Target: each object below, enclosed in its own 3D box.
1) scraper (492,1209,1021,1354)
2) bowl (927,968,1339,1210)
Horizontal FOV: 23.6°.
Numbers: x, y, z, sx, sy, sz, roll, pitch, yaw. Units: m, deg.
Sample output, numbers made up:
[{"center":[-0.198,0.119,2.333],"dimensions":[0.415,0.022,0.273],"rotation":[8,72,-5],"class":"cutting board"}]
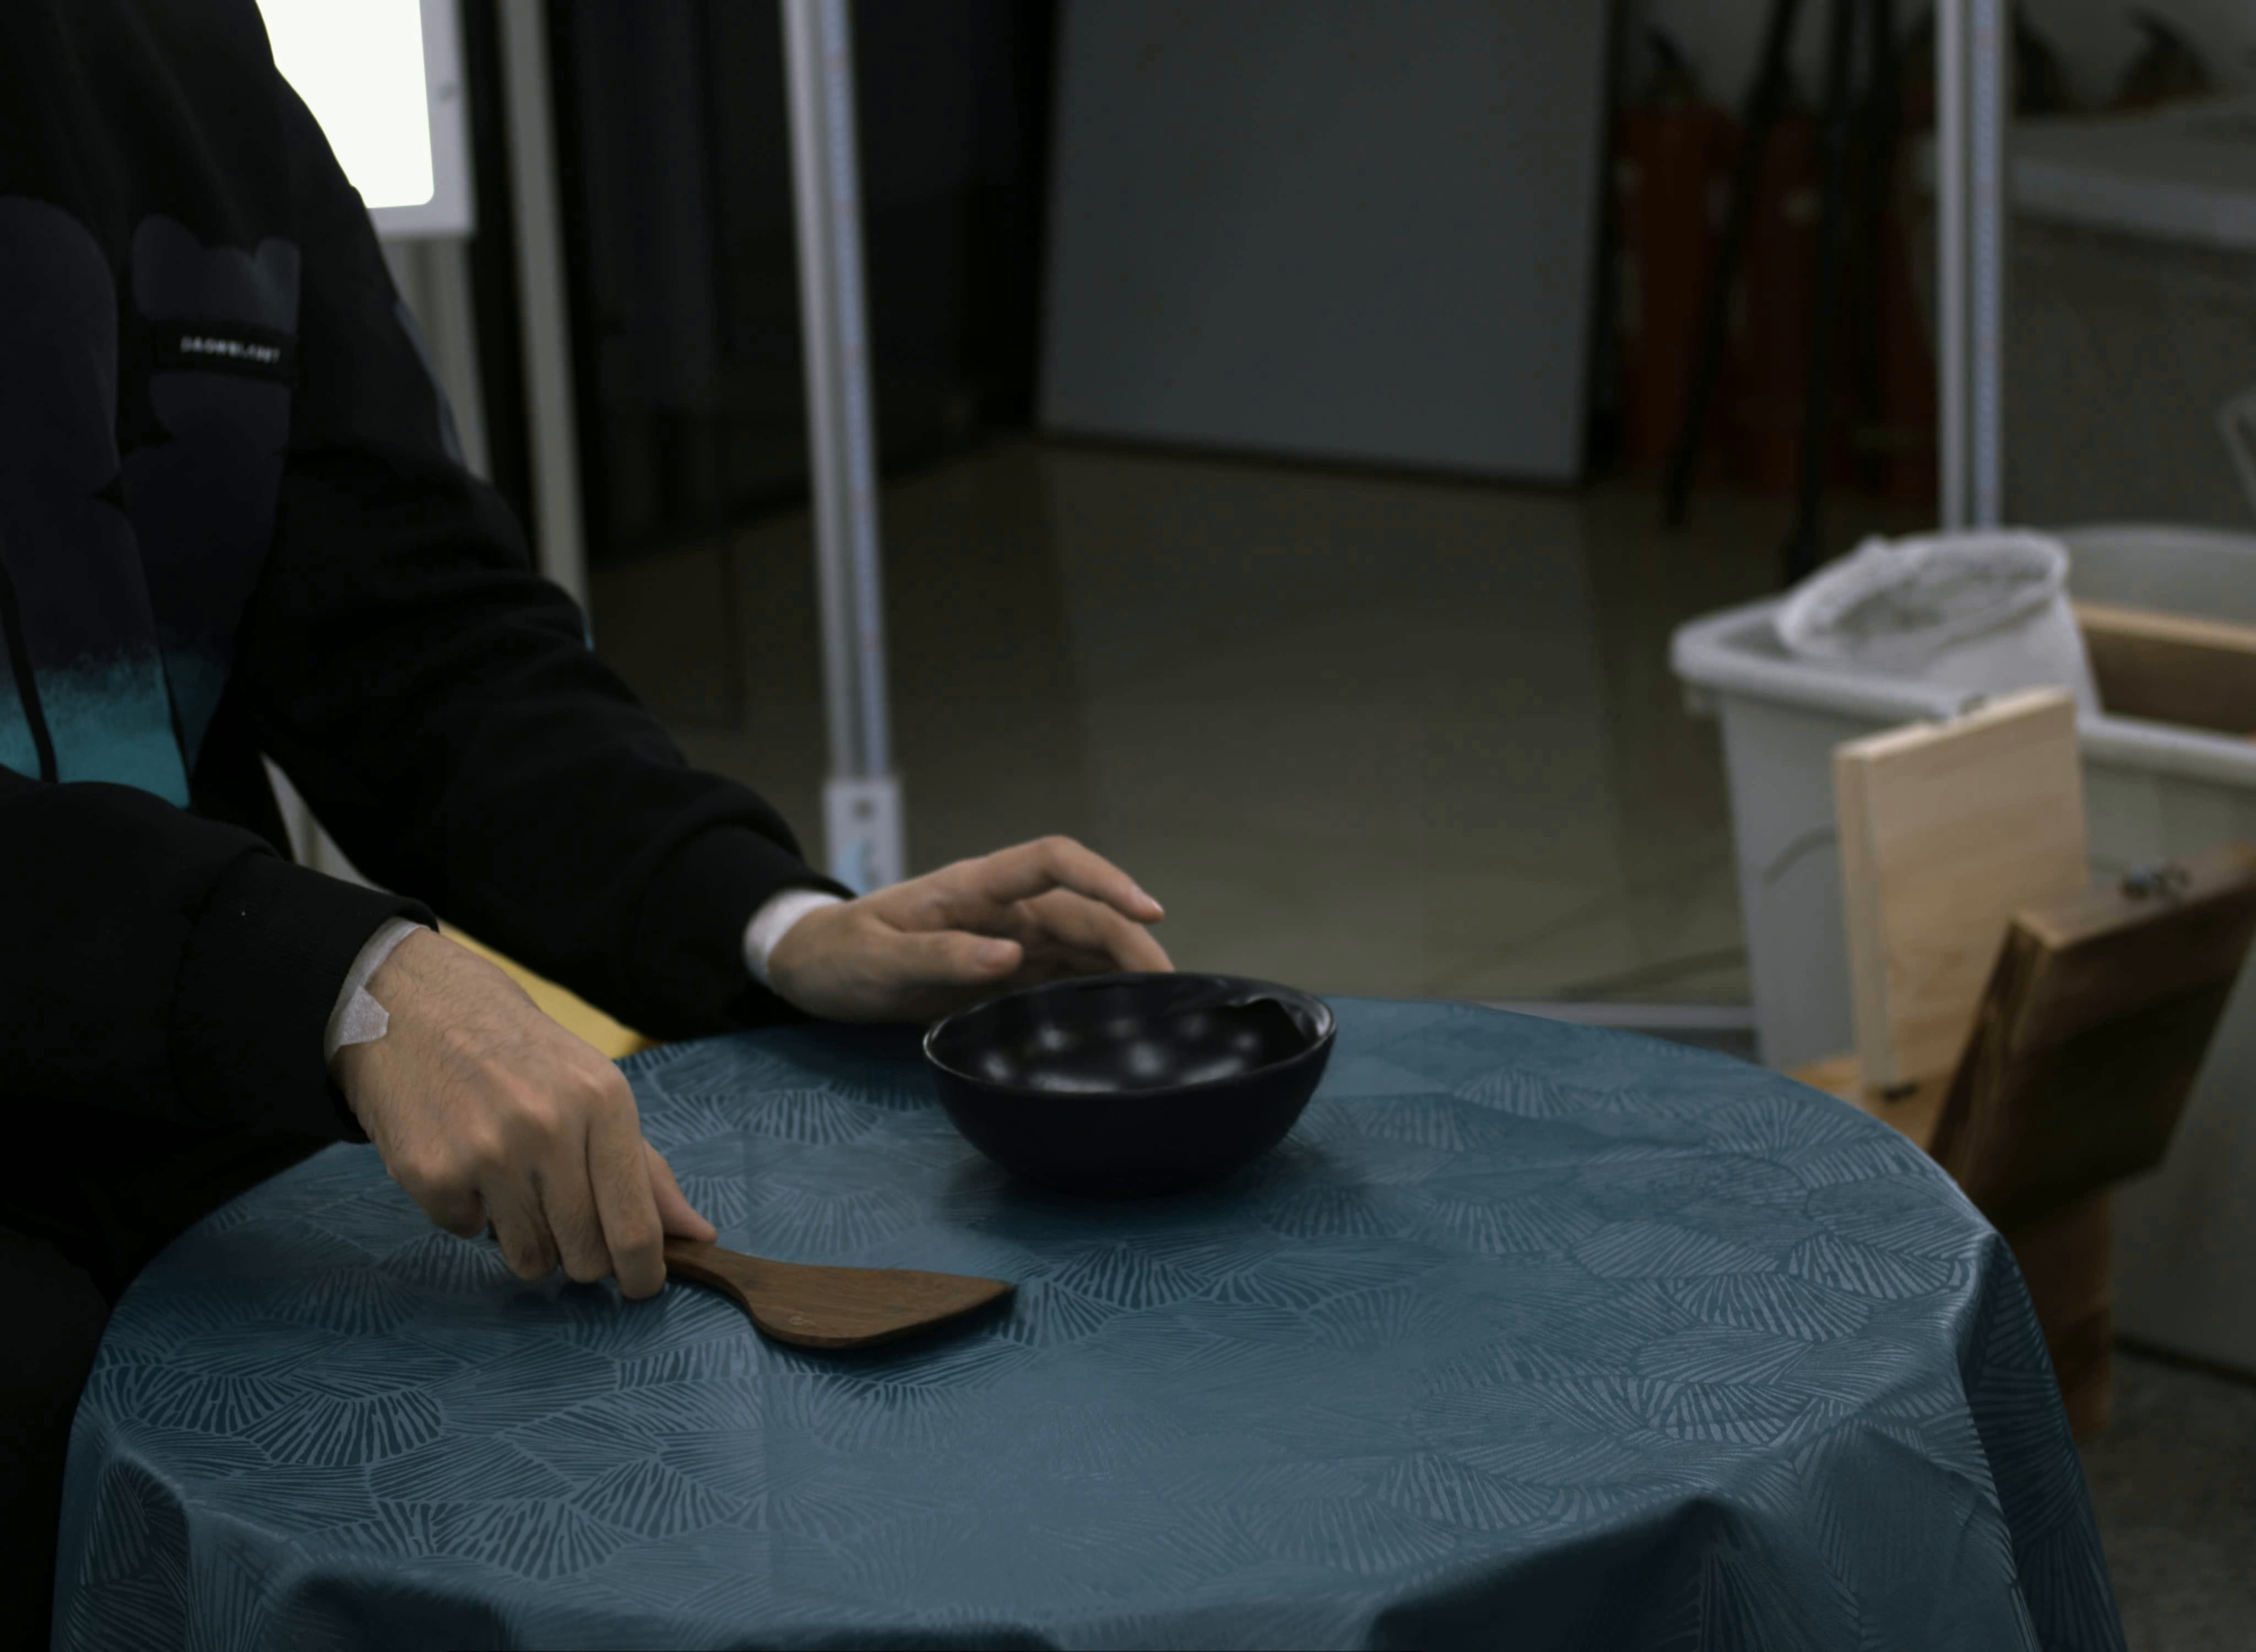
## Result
[{"center":[-0.126,0.142,1.708],"dimensions":[0.213,0.011,0.074],"rotation":[9,16,44],"class":"scraper"},{"center":[0.004,0.092,1.790],"dimensions":[0.138,0.050,0.140],"rotation":[-6,16,1],"class":"bowl"}]
